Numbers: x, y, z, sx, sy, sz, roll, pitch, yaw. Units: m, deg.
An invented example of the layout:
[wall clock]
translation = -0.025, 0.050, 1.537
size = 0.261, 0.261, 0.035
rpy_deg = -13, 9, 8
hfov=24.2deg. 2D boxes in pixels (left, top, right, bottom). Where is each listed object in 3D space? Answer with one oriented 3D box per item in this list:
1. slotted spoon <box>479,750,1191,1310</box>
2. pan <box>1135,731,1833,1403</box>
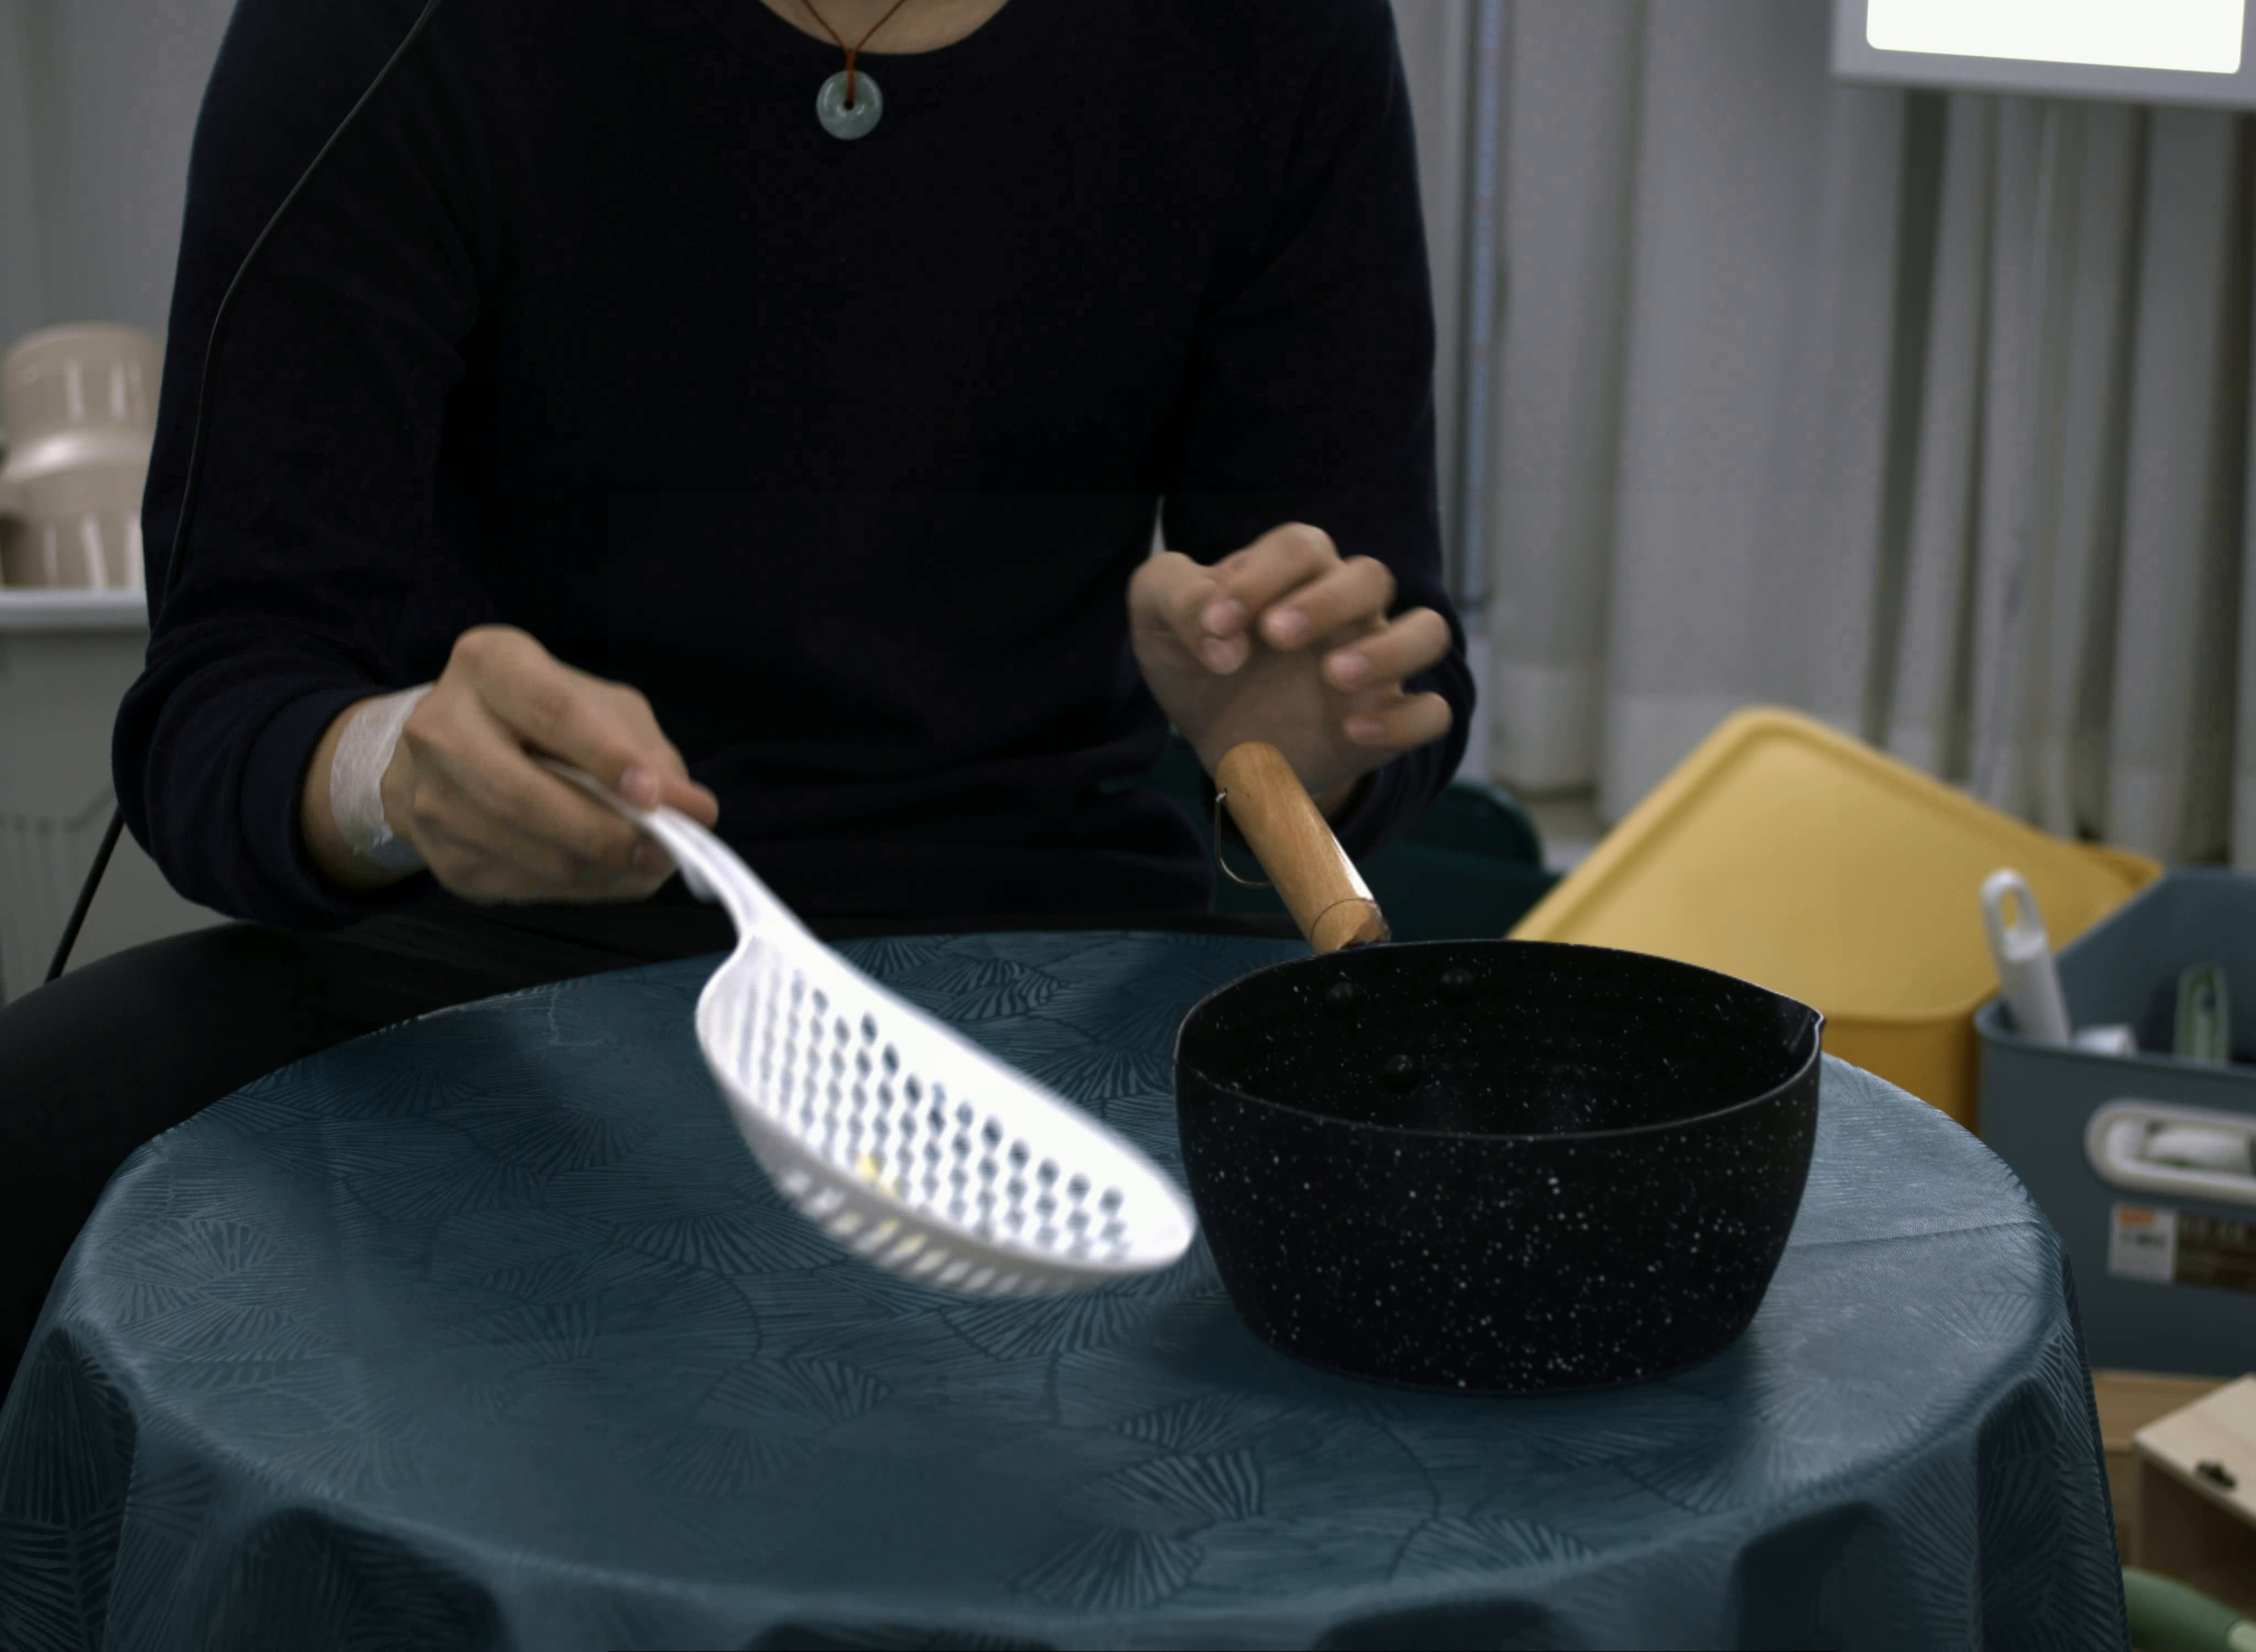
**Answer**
[slotted spoon]
translation = -0.101, 0.044, 1.446
size = 0.138, 0.050, 0.343
rpy_deg = 15, 21, -35
[pan]
translation = 0.083, 0.067, 1.586
size = 0.208, 0.109, 0.339
rpy_deg = -6, 18, -16
